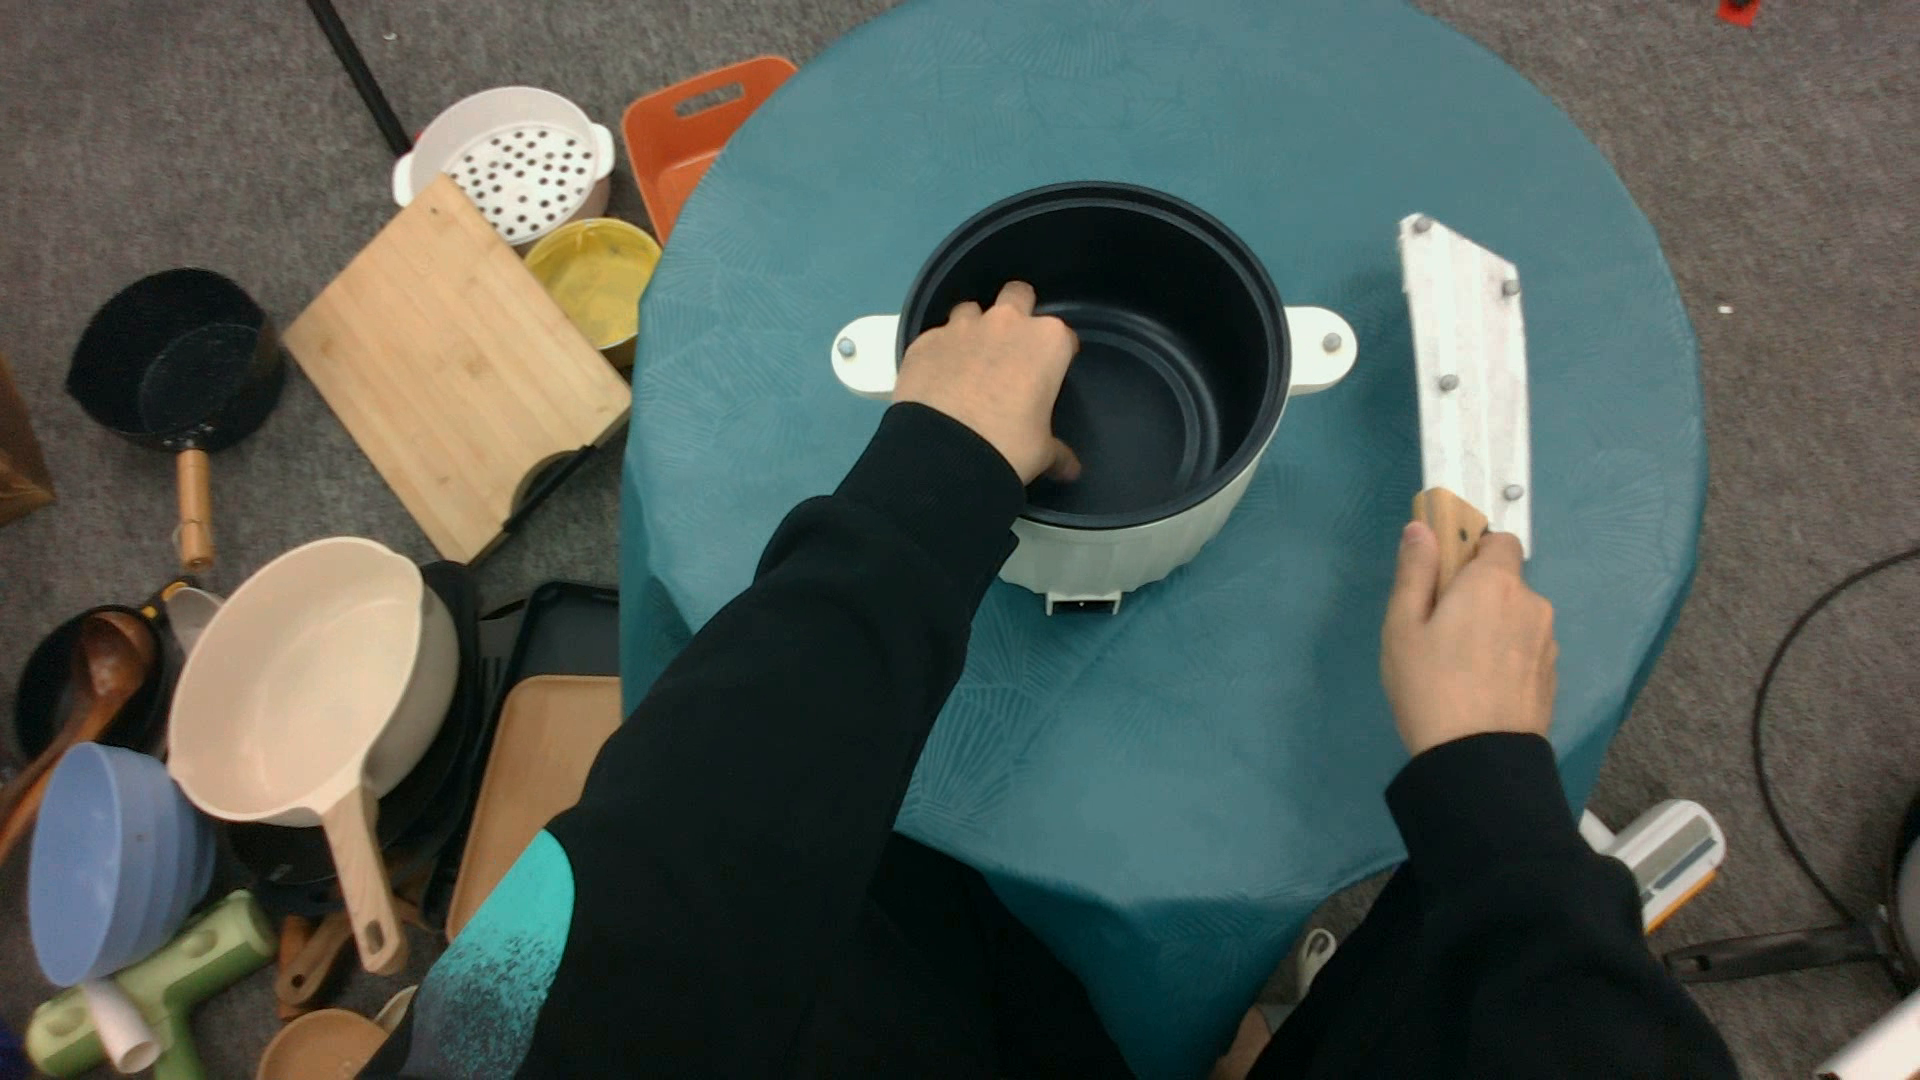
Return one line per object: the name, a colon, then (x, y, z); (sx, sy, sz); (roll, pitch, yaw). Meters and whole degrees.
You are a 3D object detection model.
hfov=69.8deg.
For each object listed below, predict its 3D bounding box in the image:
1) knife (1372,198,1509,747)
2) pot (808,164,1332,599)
knife: (0.246, -0.045, 0.703); (0.114, 0.021, 0.316); (26, 59, -28)
pot: (0.050, -0.078, 0.691); (0.240, 0.142, 0.191); (-1, 72, -1)
